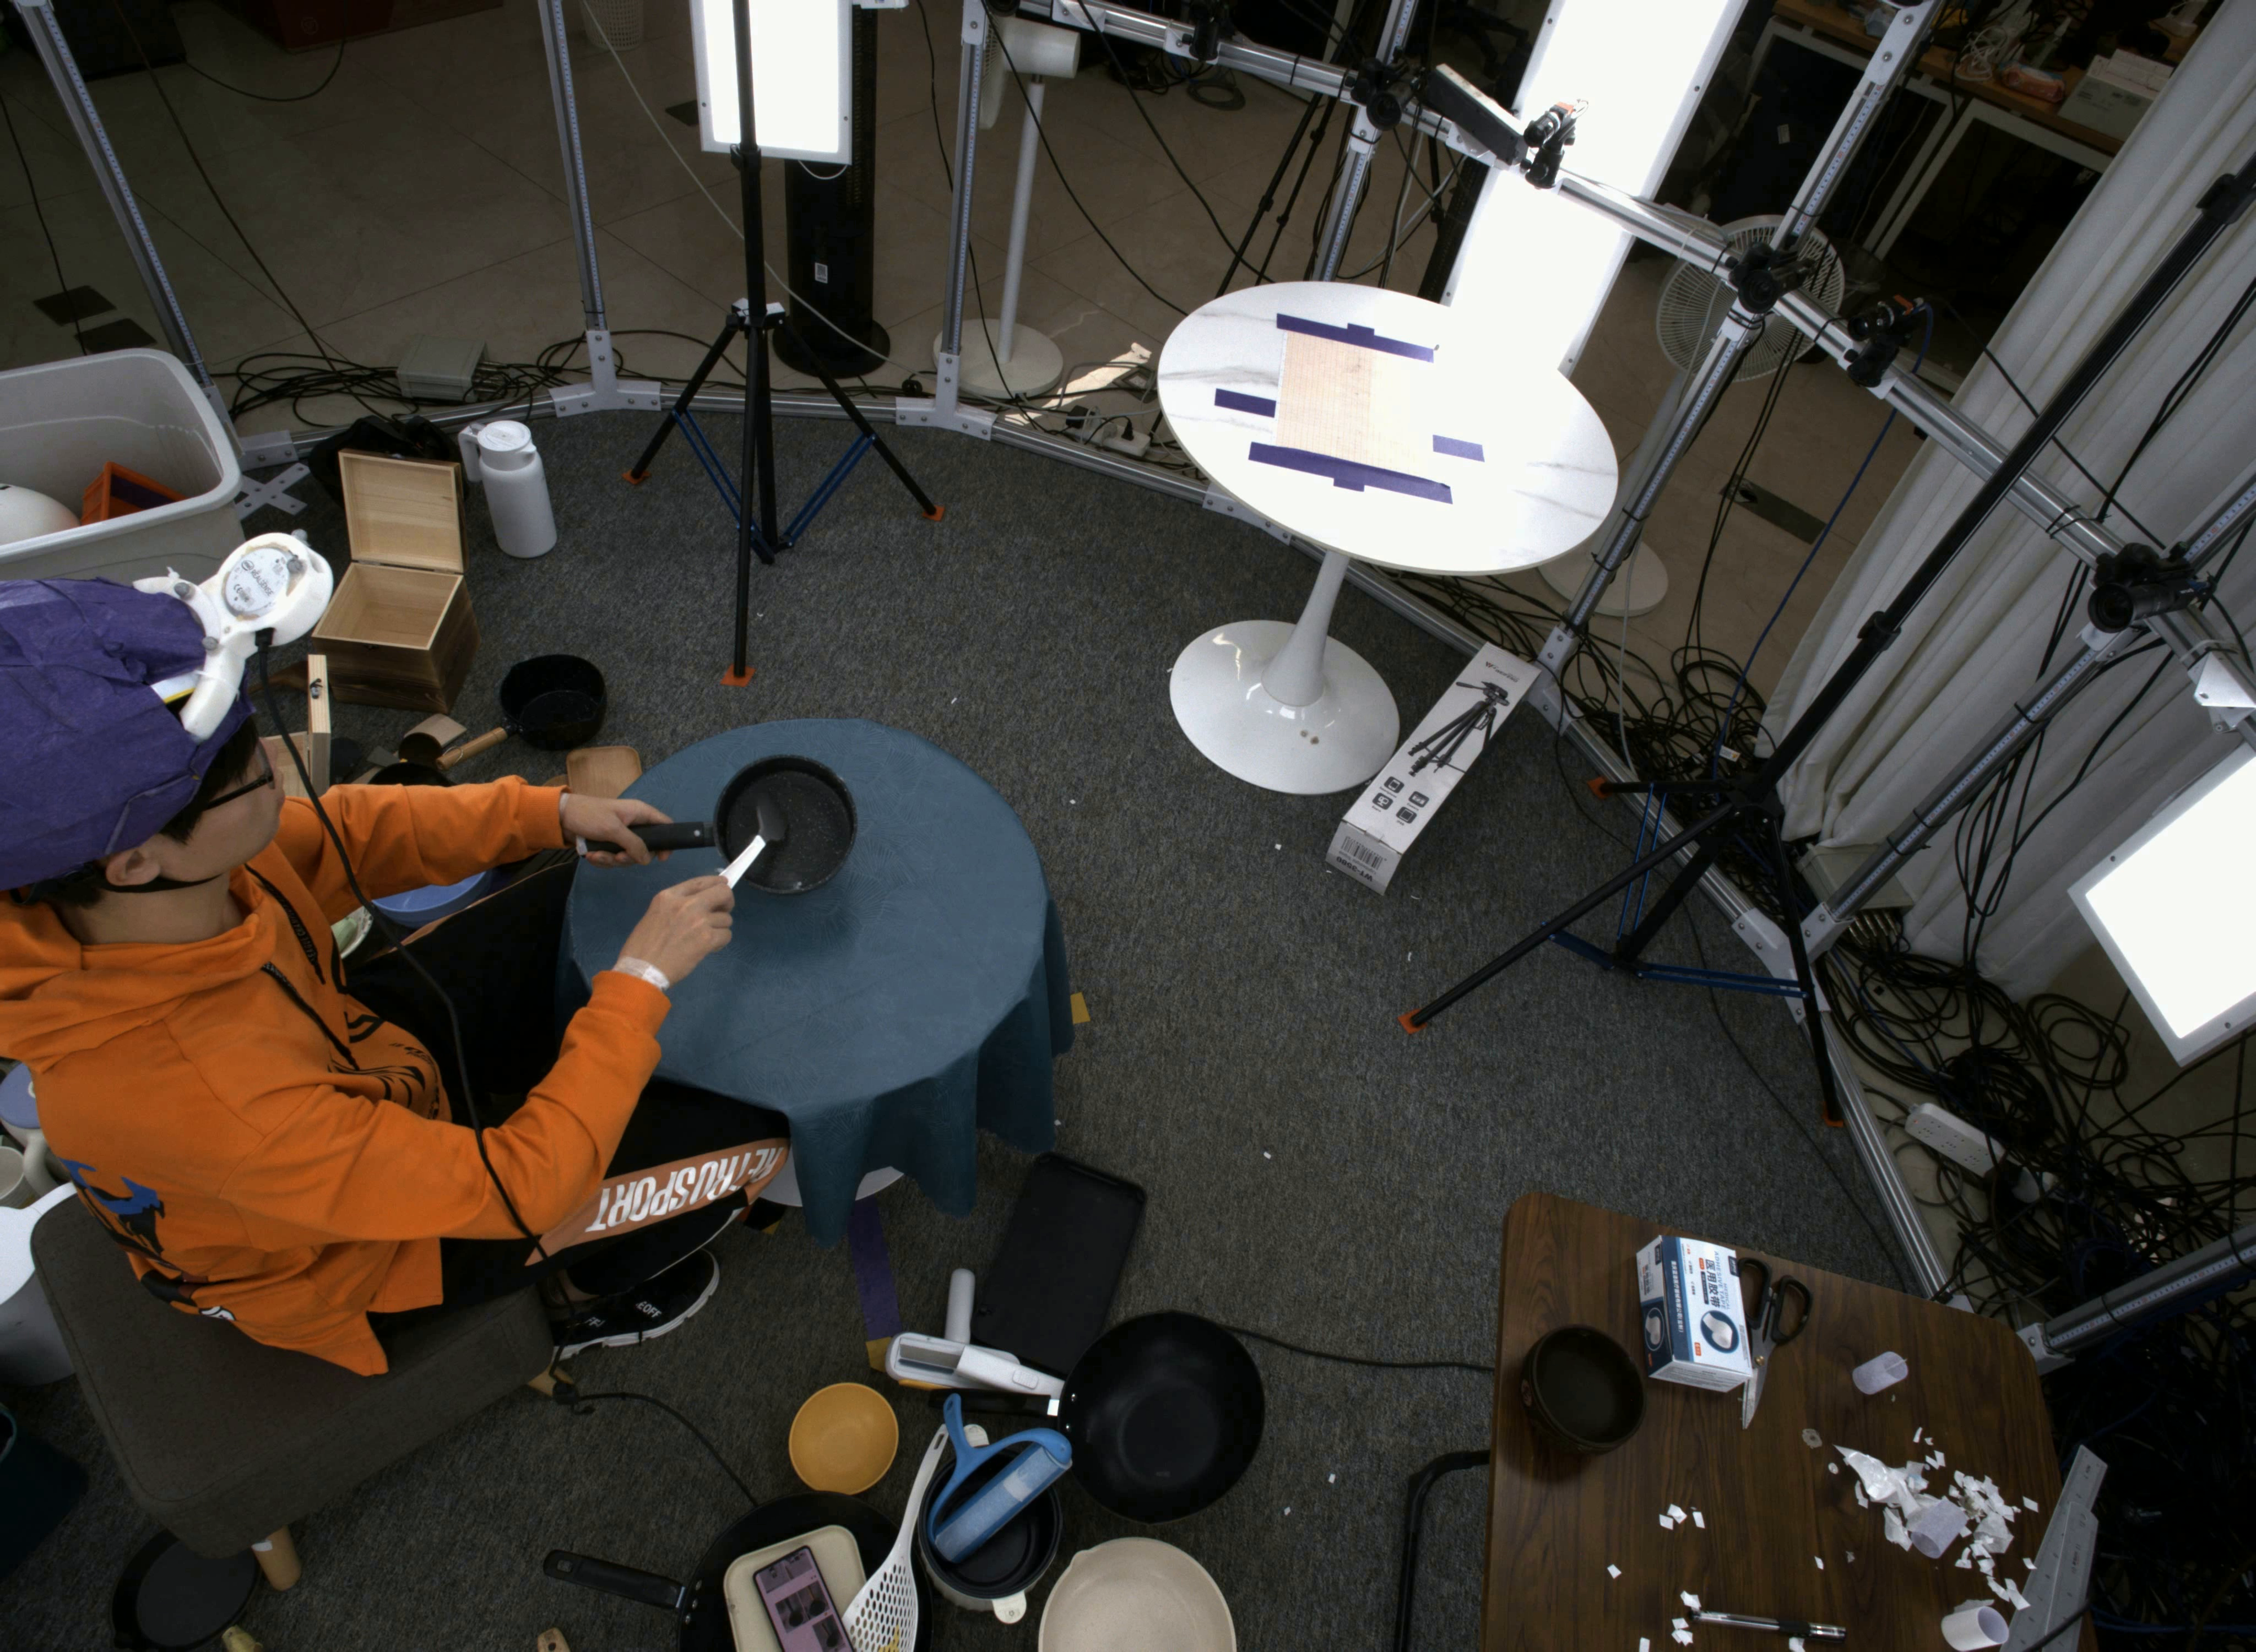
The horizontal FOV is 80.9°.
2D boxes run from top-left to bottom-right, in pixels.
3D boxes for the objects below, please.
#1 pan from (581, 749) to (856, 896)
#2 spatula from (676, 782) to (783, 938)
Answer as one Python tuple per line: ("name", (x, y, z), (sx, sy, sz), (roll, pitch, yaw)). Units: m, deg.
("pan", (-0.497, 0.004, 1.566), (0.329, 0.086, 0.173), (-4, 82, -16))
("spatula", (-0.451, 0.033, 1.492), (0.060, 0.032, 0.283), (57, 22, -23))
